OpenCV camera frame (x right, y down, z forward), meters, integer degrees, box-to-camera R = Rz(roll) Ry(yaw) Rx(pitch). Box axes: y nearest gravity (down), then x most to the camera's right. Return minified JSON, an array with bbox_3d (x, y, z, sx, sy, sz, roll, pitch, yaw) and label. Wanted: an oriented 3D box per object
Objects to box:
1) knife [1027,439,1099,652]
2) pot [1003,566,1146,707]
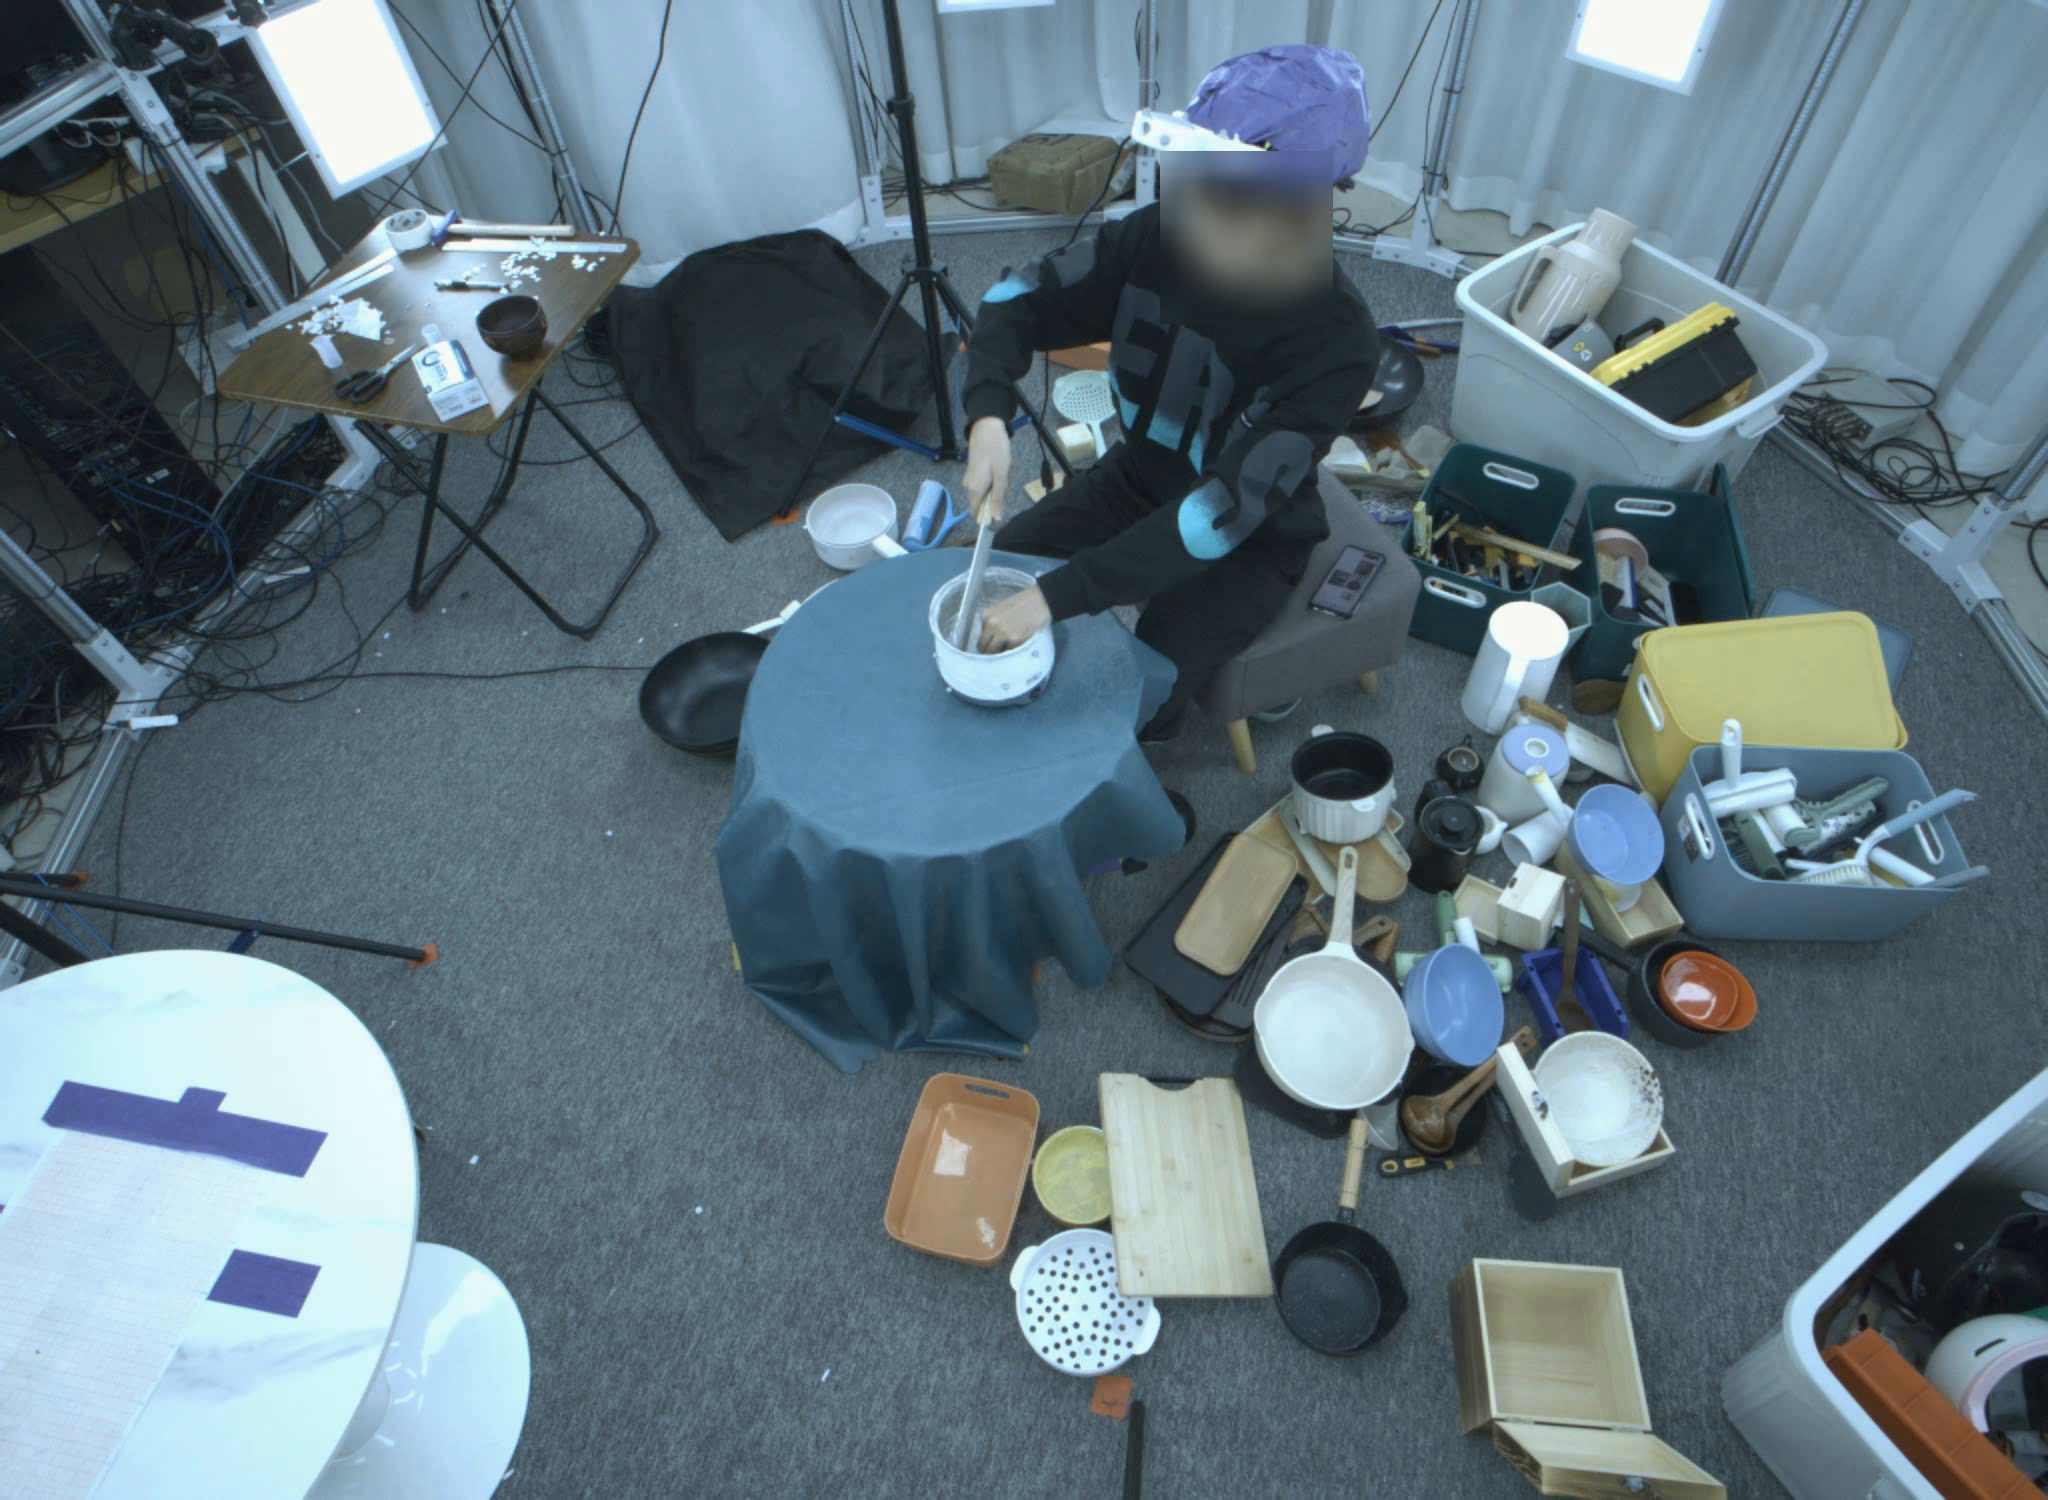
[{"bbox_3d":[0.053,-0.292,1.754,0.021,0.115,0.315,17,95,11],"label":"knife"},{"bbox_3d":[0.084,-0.178,1.824,0.235,0.138,0.175,-36,61,-19],"label":"pot"}]
